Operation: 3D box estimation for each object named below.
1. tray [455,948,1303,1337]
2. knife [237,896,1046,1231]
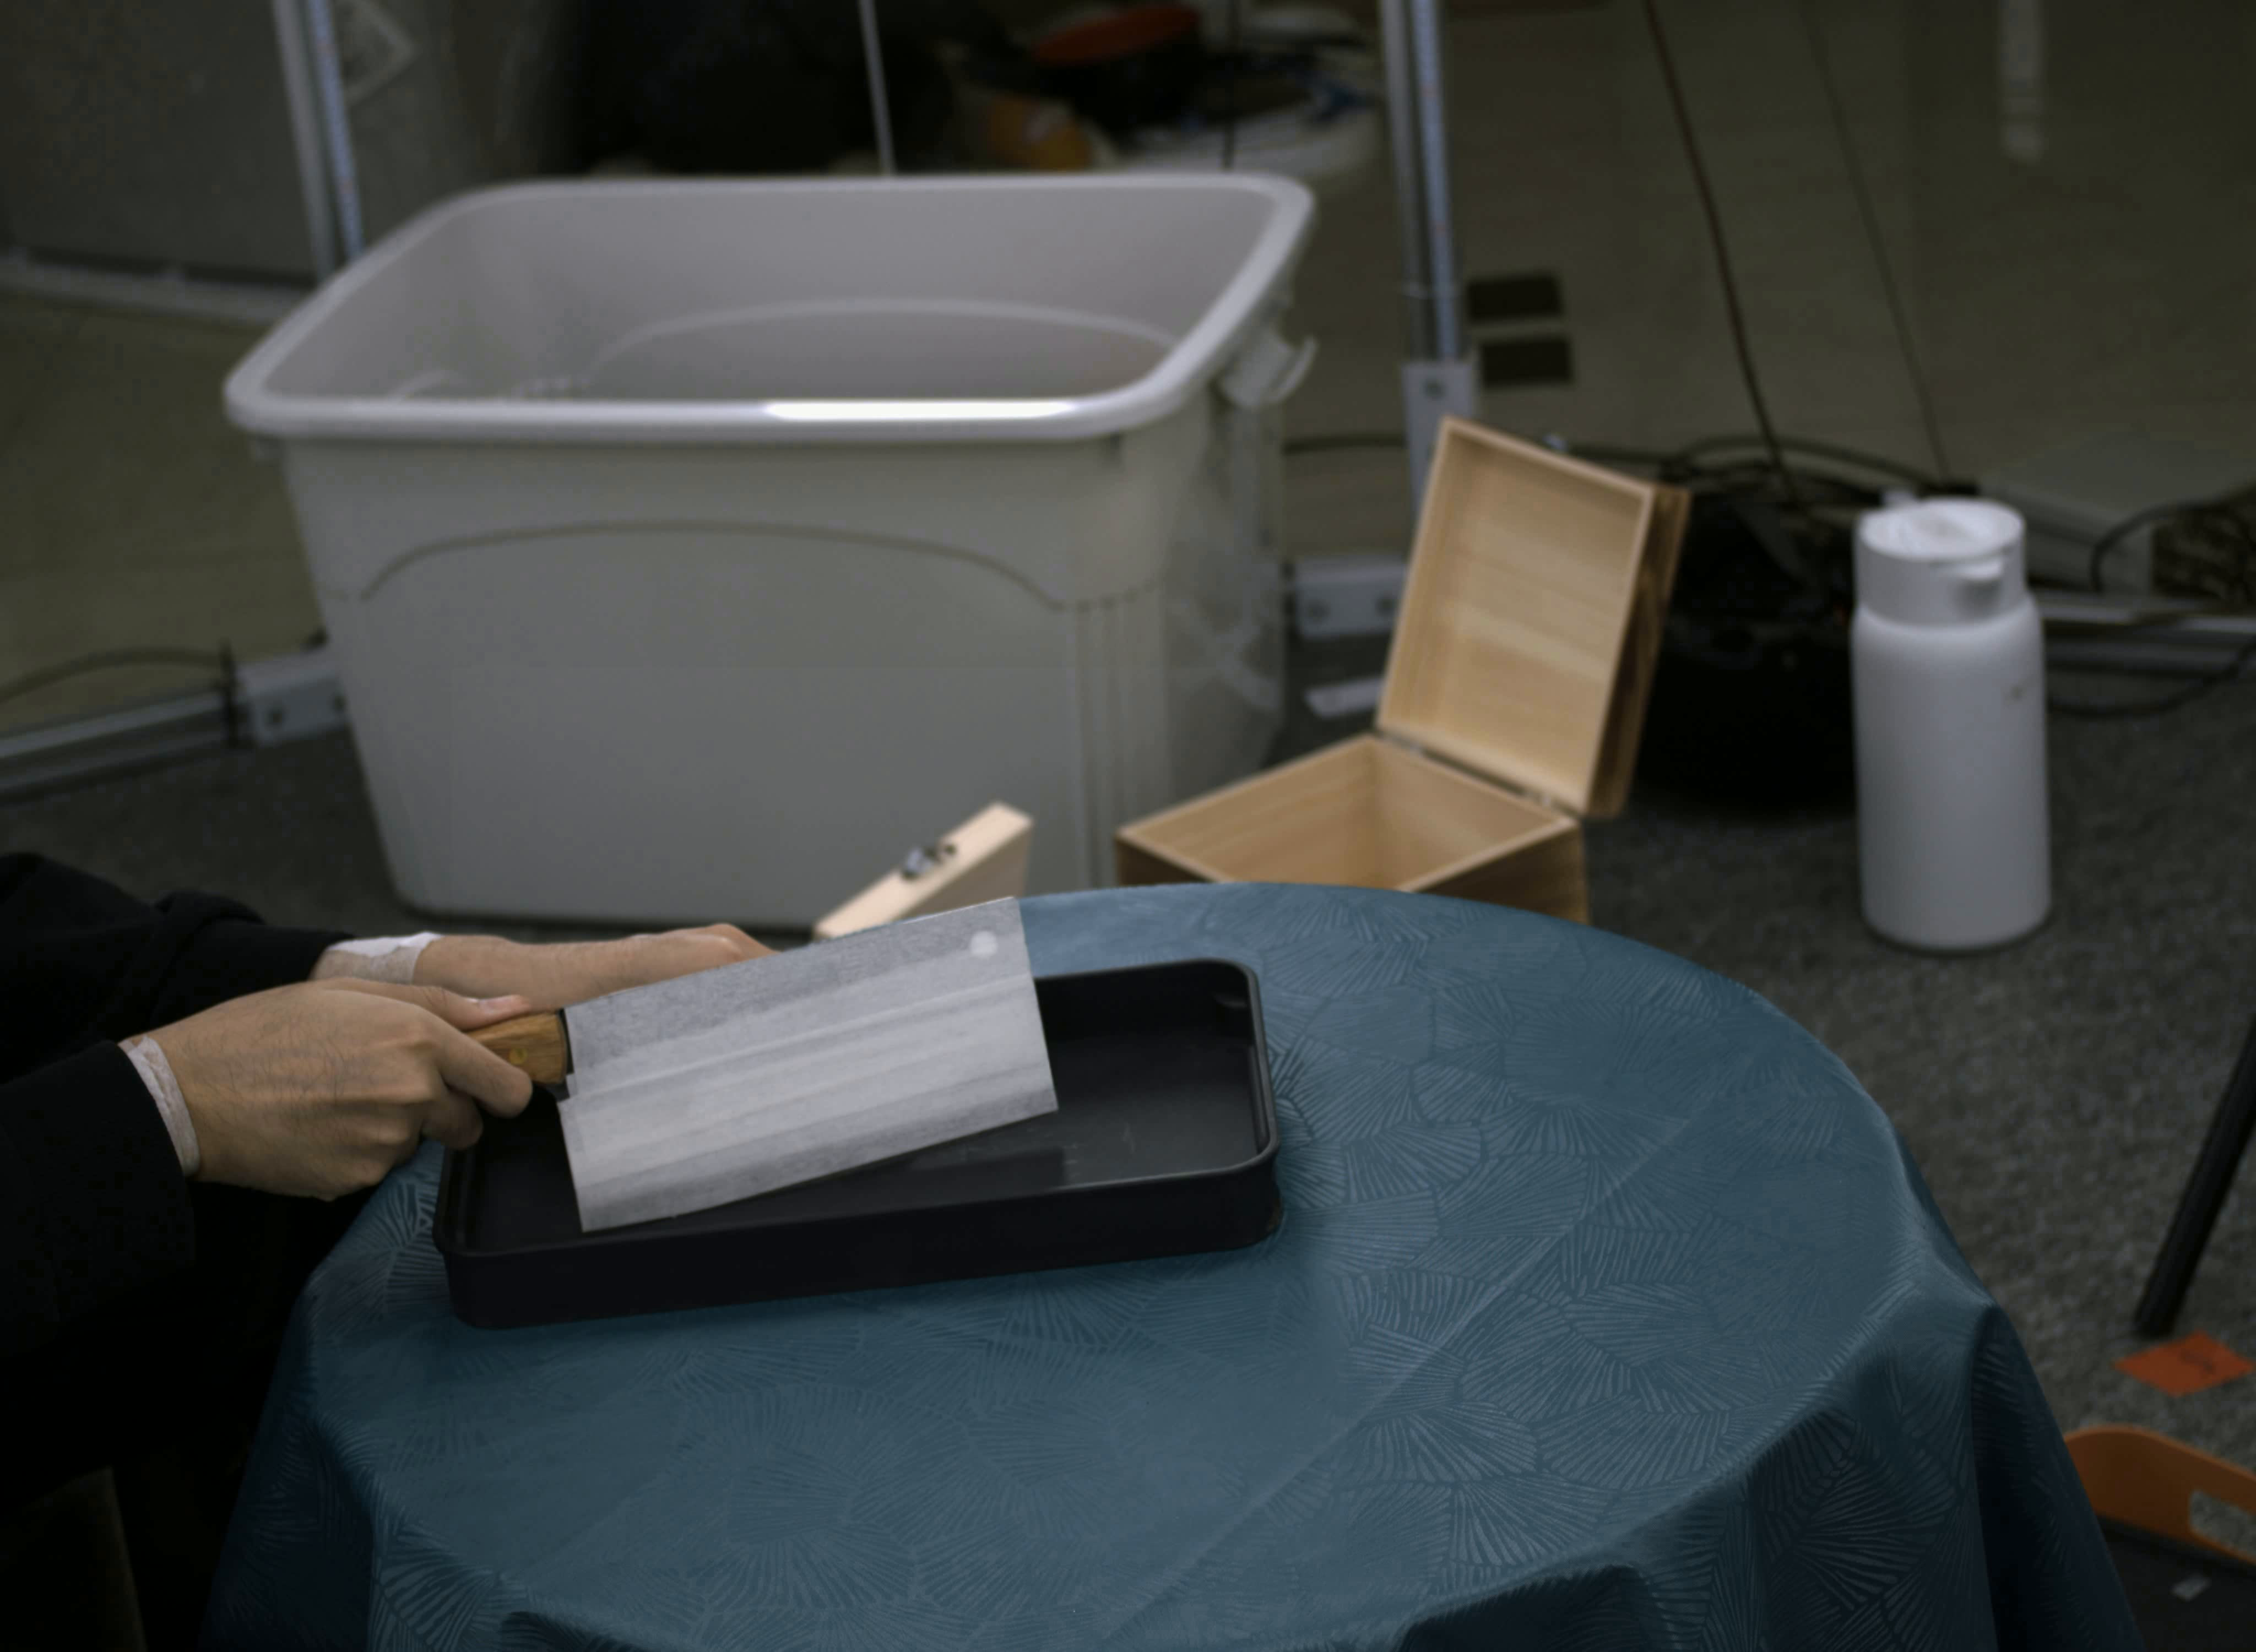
[{"bbox_3d":[-0.096,0.119,2.171,0.317,0.037,0.181,-7,25,-1],"label":"tray"},{"bbox_3d":[-0.180,0.102,2.143,0.305,0.094,0.021,-14,17,-12],"label":"knife"}]
